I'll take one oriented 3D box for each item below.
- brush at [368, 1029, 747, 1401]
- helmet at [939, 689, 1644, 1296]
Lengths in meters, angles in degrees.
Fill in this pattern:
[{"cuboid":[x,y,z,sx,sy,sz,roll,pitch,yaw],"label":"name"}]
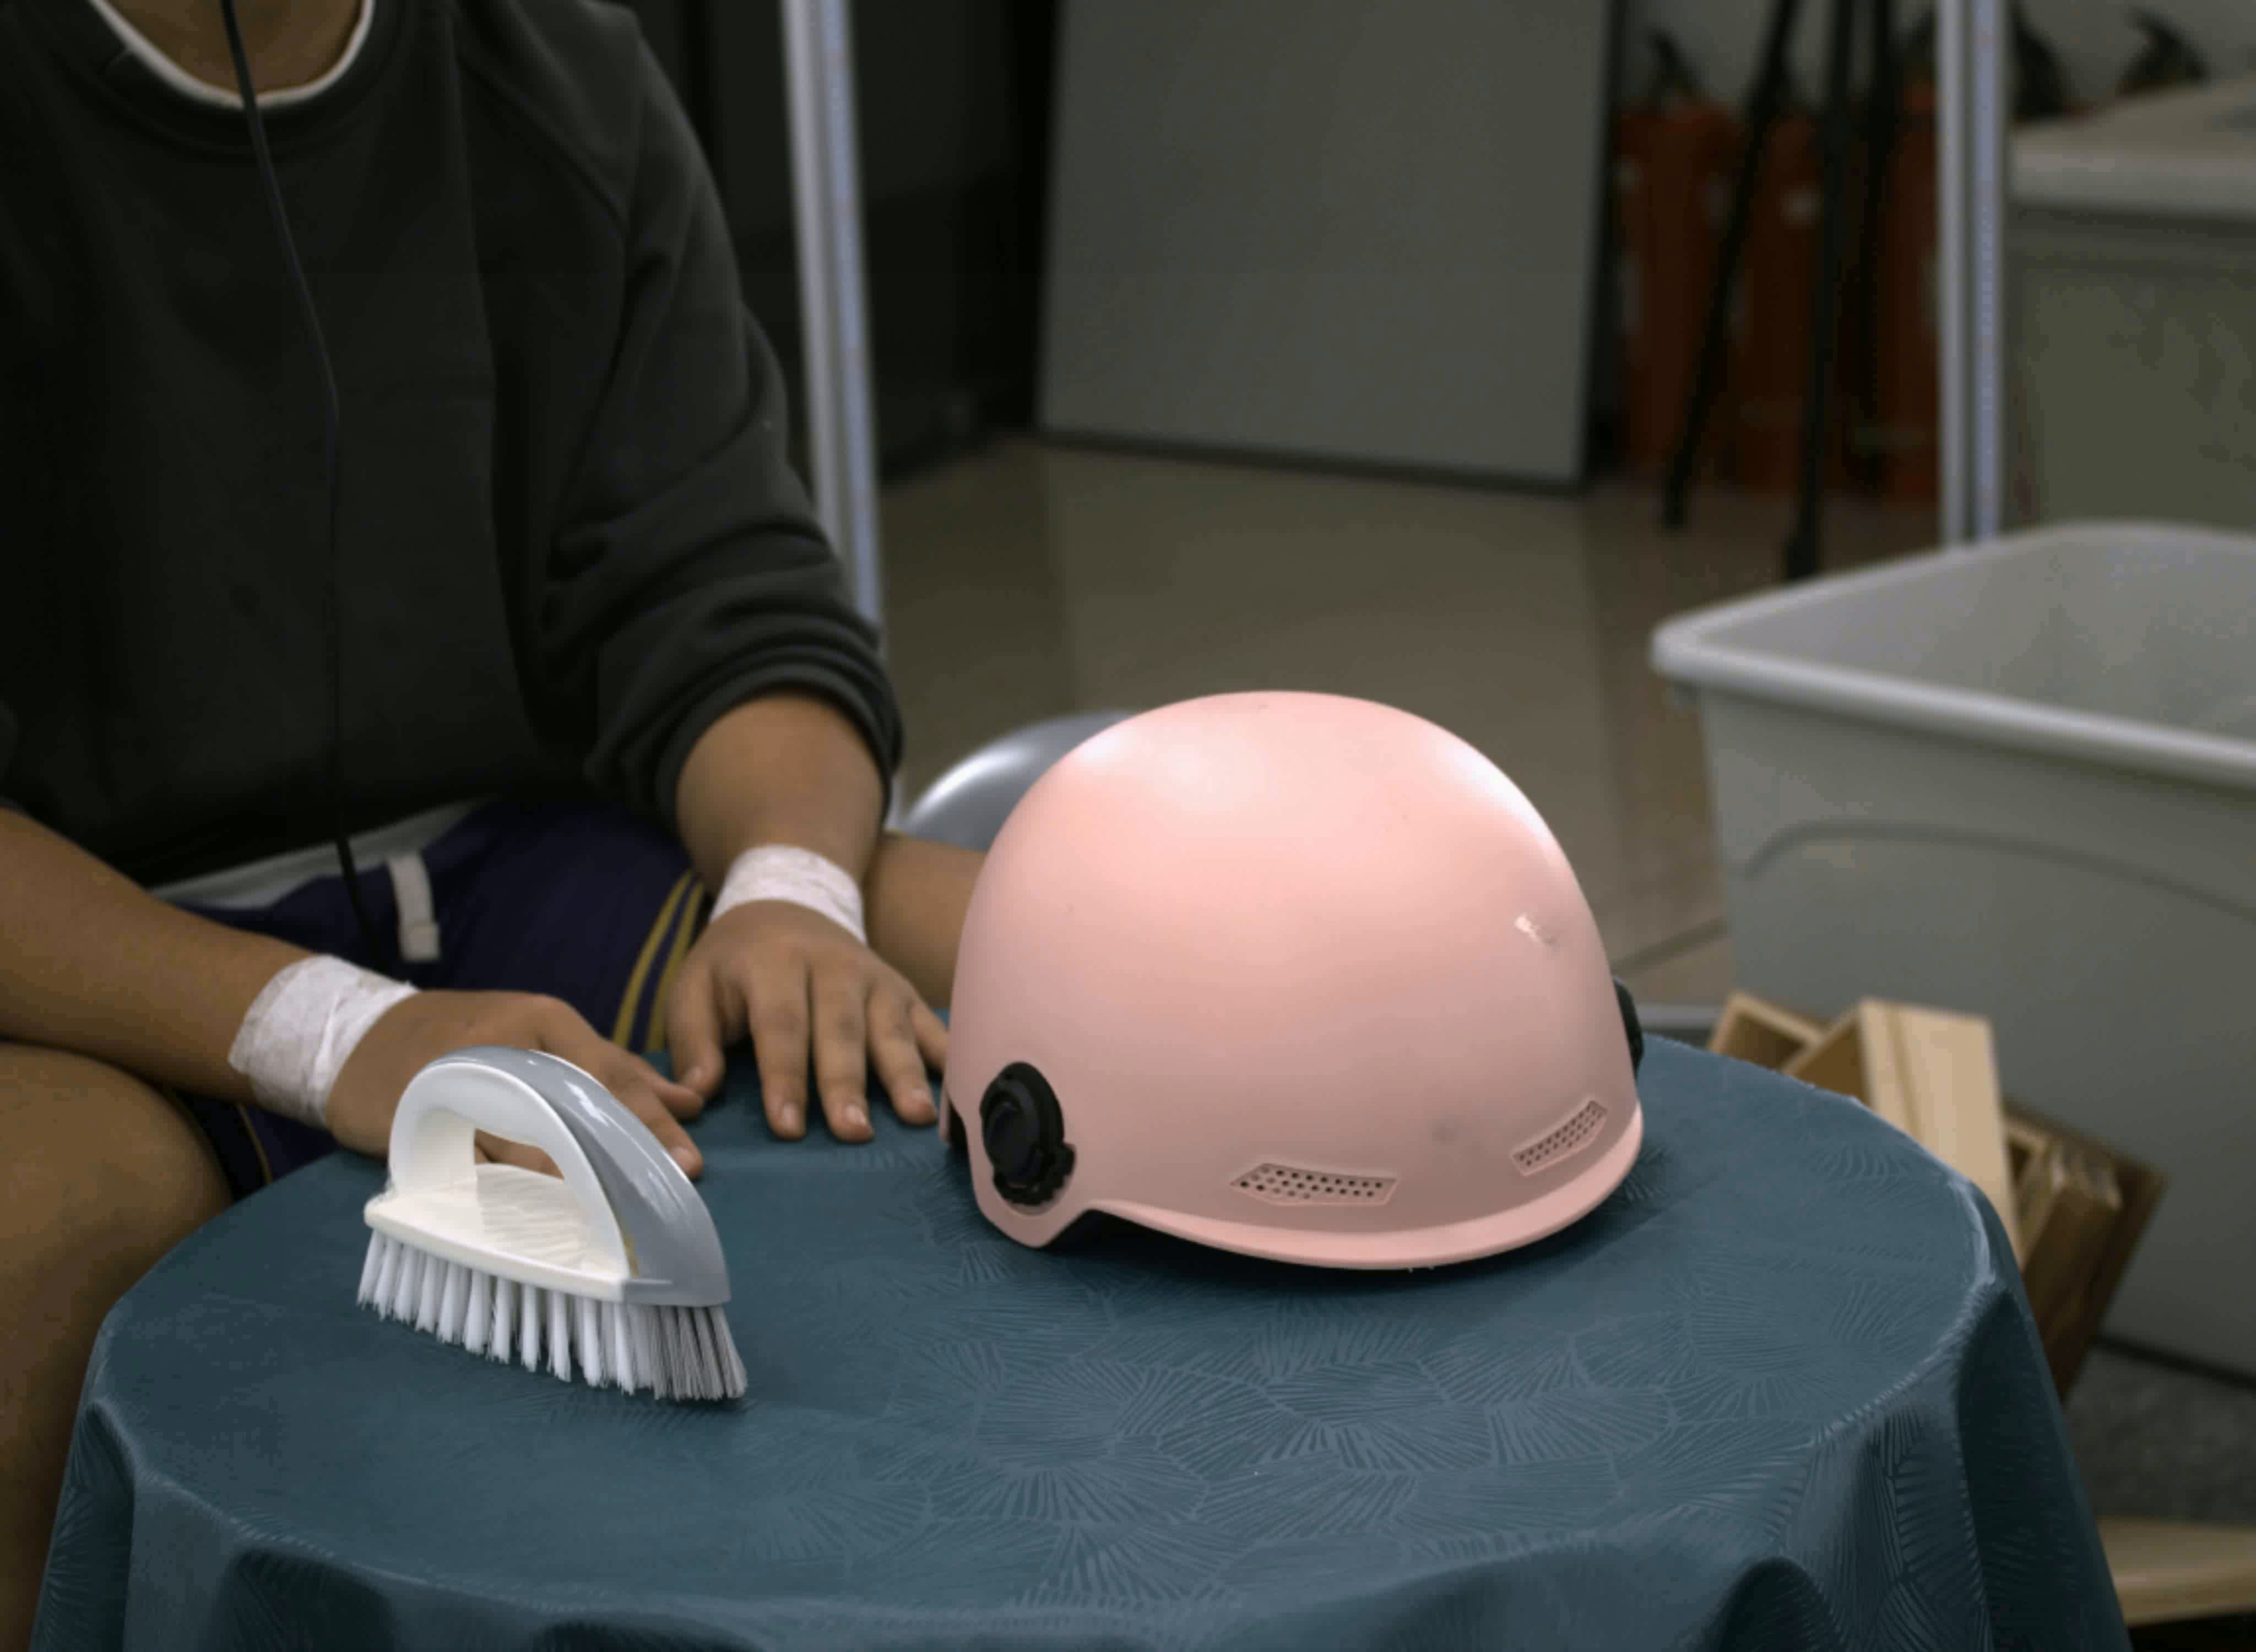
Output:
[{"cuboid":[-0.170,0.115,1.650,0.060,0.095,0.177,-14,19,-36],"label":"brush"},{"cuboid":[0.053,0.042,1.759,0.229,0.160,0.268,-9,18,-21],"label":"helmet"}]
